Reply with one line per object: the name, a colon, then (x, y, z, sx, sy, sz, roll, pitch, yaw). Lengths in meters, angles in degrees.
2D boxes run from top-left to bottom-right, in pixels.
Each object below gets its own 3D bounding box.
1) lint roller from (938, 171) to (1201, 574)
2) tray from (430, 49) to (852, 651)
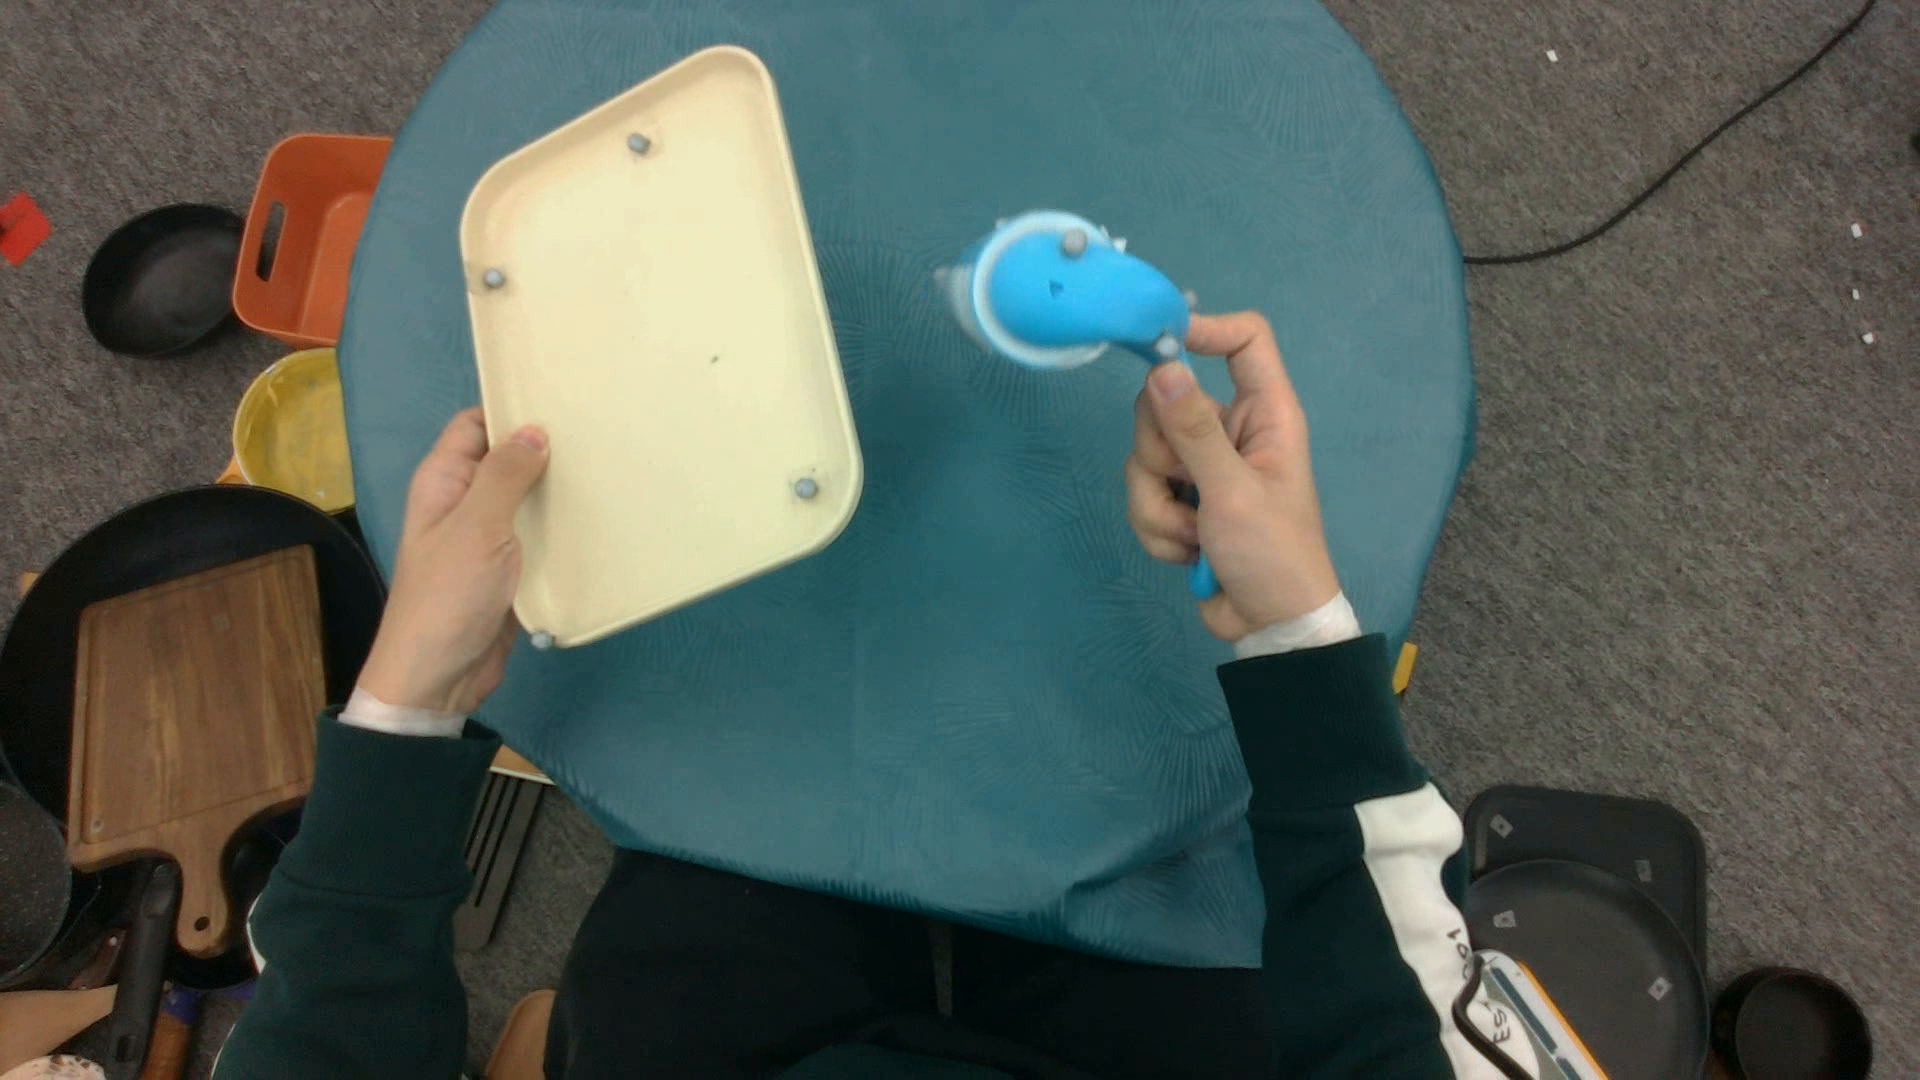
lint roller: (0.058, -0.073, 0.573, 0.068, 0.229, 0.180, -40, 101, 6)
tray: (-0.142, -0.083, 0.590, 0.171, 0.017, 0.240, -23, 71, 16)
